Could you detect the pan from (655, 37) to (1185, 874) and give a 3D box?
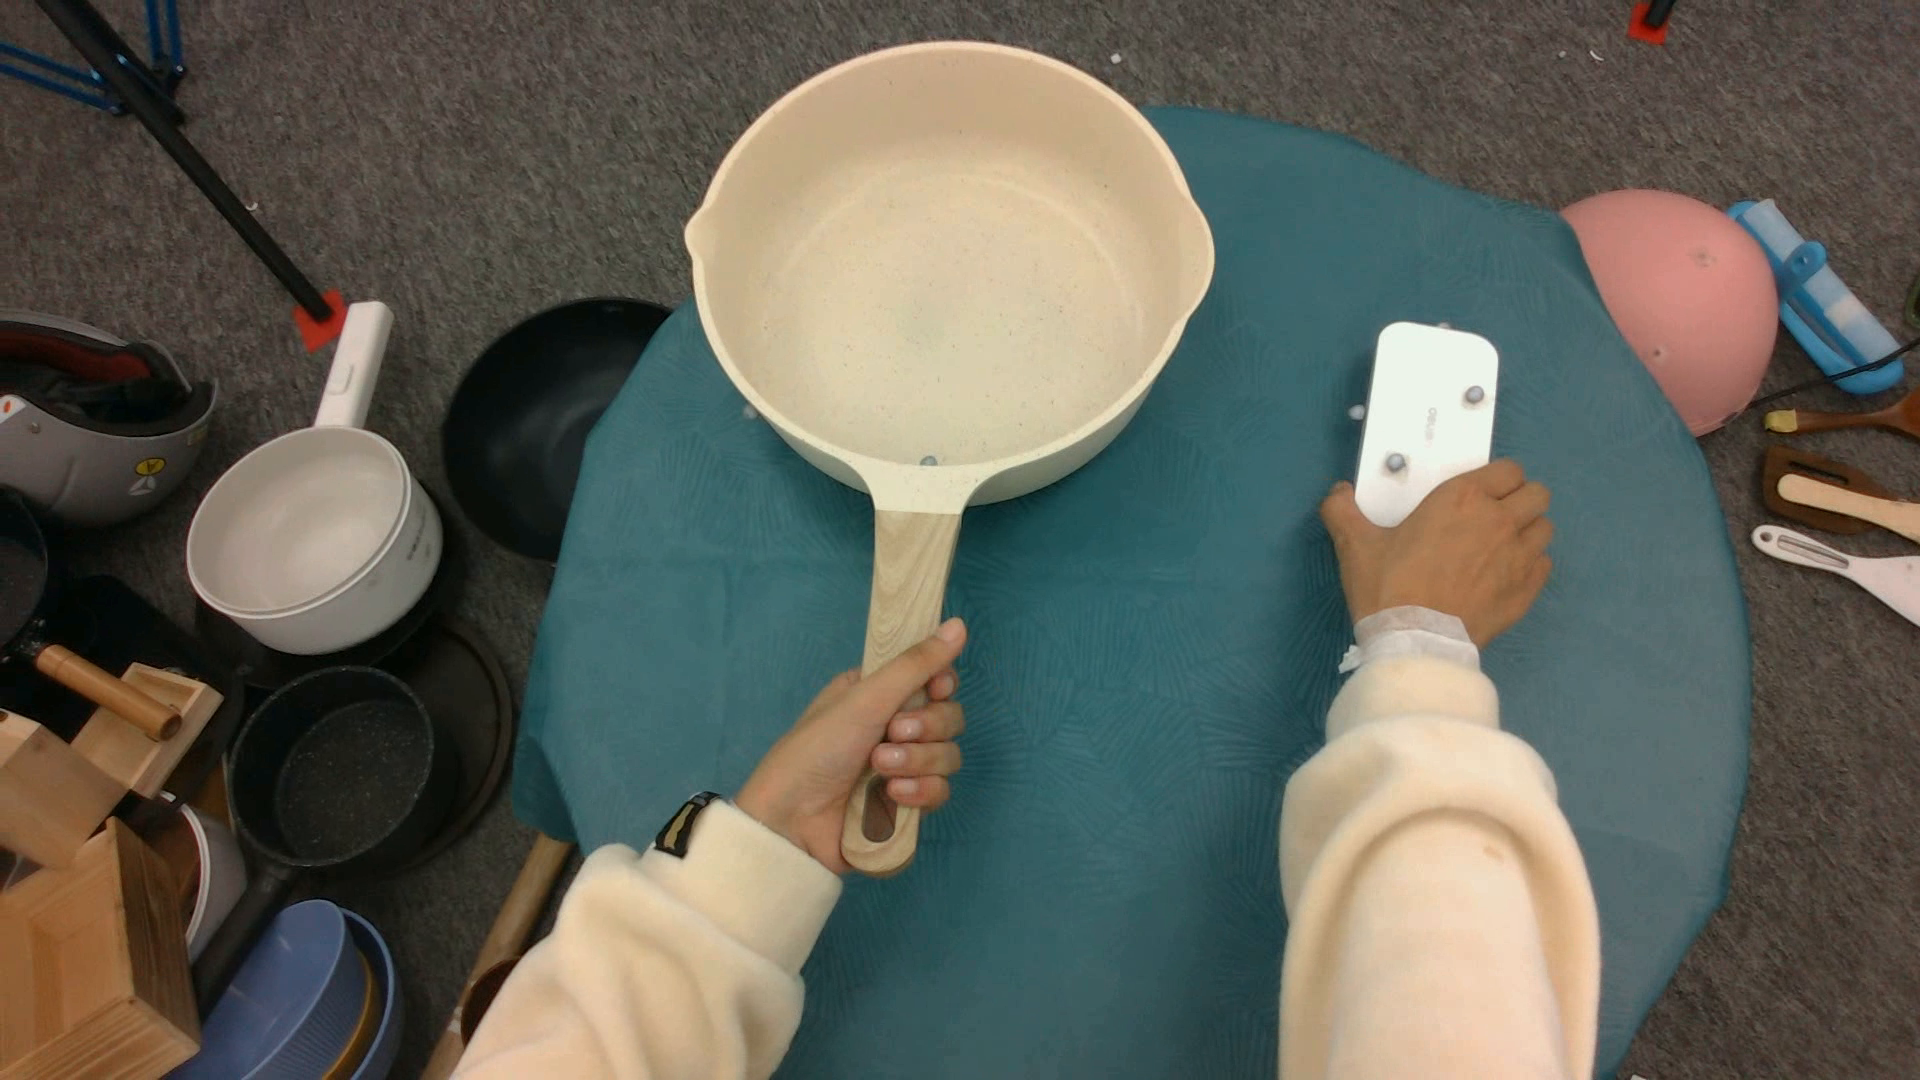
[{"bbox_3d":[-0.026,-0.052,0.675,0.263,0.101,0.436,3,68,2],"label":"pan"}]

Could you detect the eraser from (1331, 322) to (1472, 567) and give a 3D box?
[{"bbox_3d":[0.224,-0.051,0.706,0.063,0.034,0.132,10,68,8],"label":"eraser"}]
